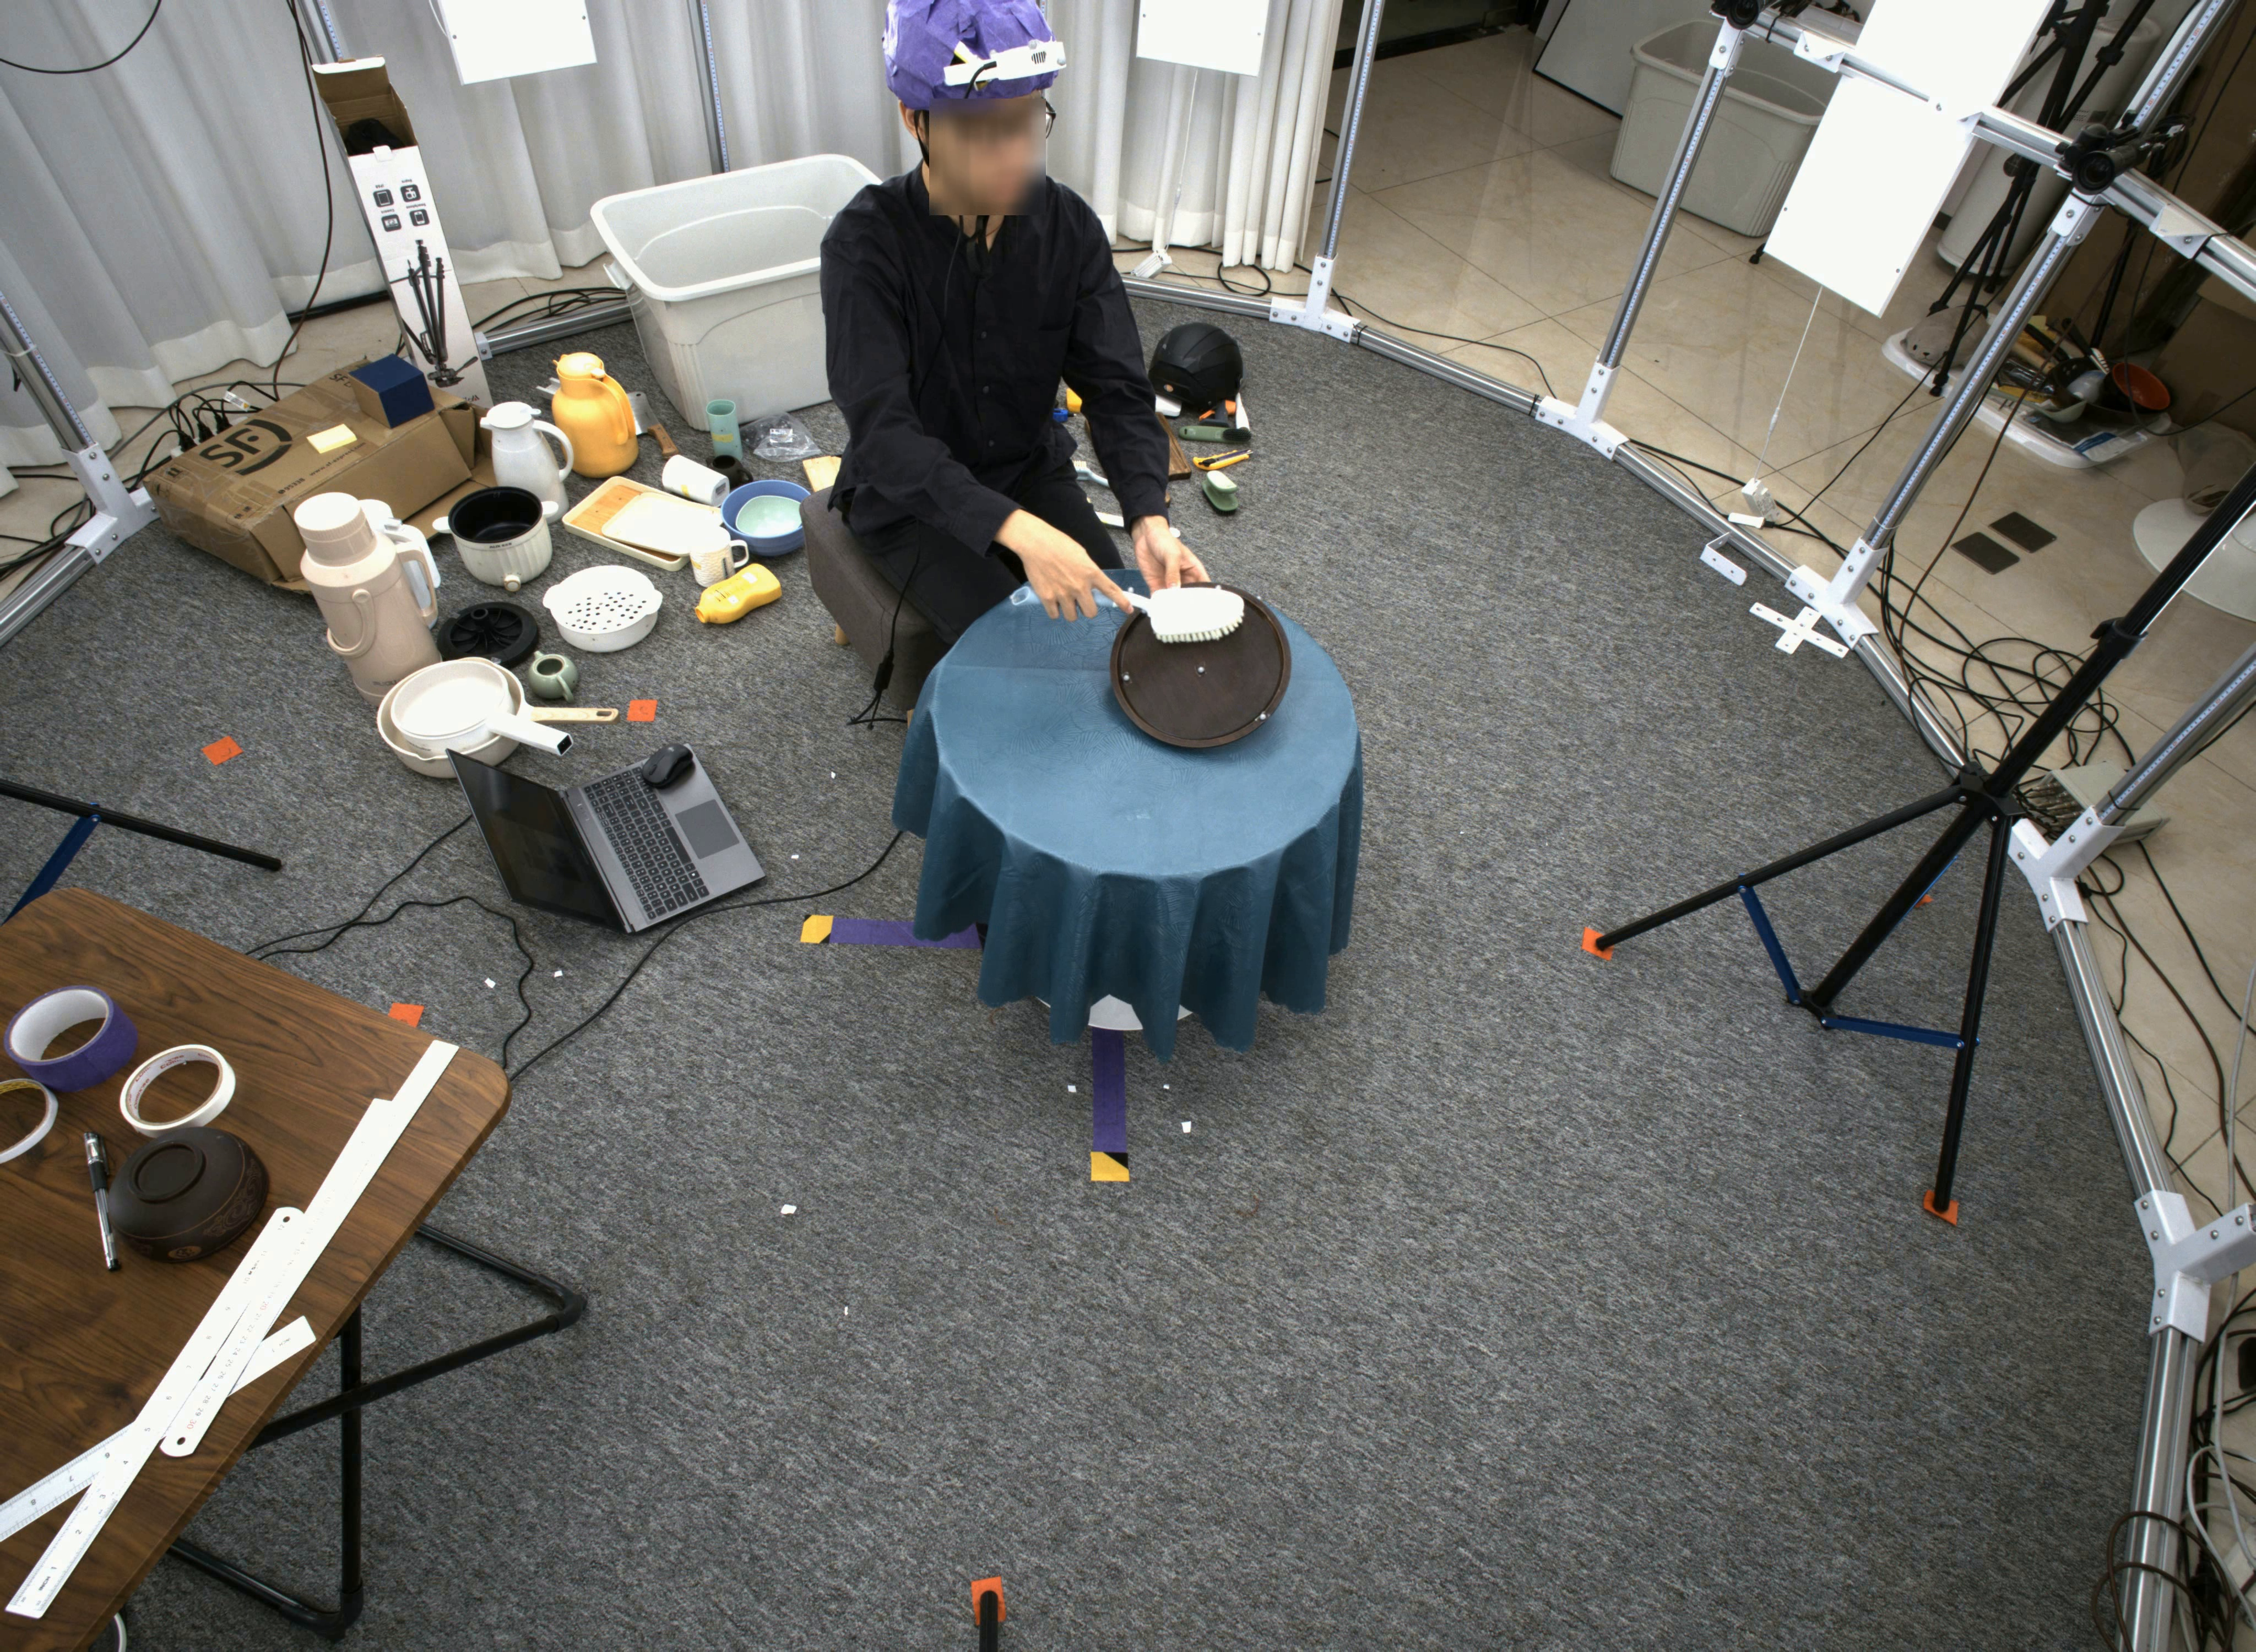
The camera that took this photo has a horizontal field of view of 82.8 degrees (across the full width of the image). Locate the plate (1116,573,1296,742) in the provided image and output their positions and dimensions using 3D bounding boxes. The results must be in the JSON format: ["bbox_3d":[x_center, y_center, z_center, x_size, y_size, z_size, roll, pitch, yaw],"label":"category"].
[{"bbox_3d":[0.109,-0.236,1.801,0.255,0.028,0.259,-2,71,7],"label":"plate"}]

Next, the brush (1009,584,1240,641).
[{"bbox_3d":[-0.004,-0.303,1.794,0.325,0.083,0.085,1,34,-7],"label":"brush"}]
